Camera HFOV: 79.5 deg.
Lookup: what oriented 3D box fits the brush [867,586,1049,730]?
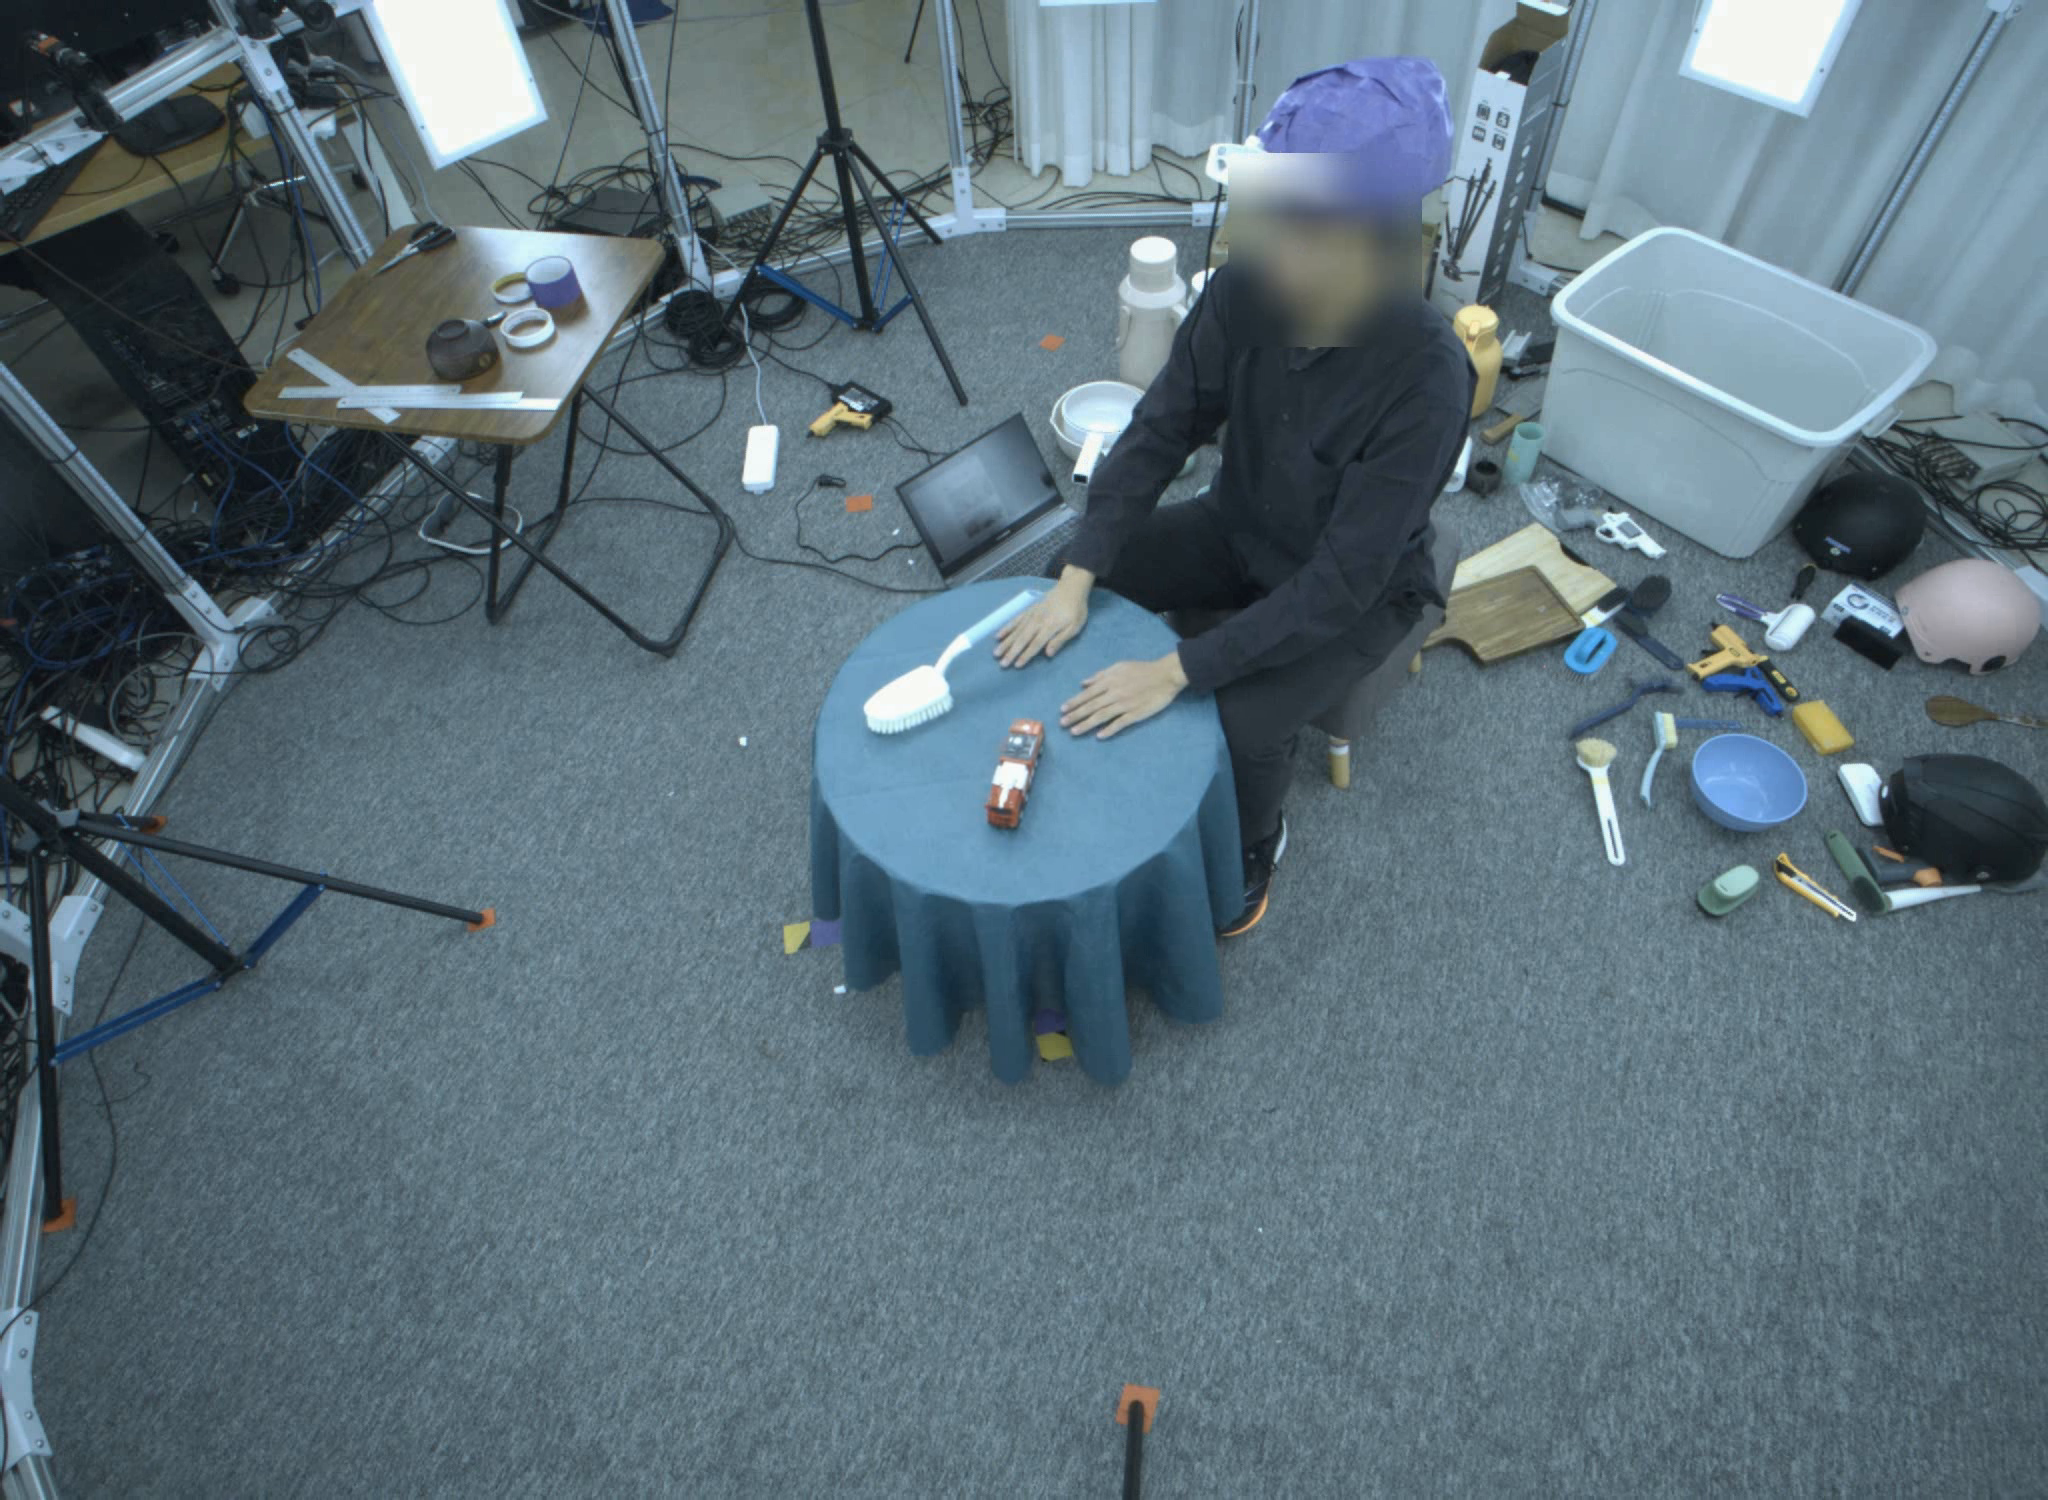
[{"bbox_3d":[-0.089,-0.128,1.831,0.326,0.084,0.083,-35,96,-7],"label":"brush"}]

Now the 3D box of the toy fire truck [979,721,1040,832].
[{"bbox_3d":[-0.019,0.036,1.725,0.053,0.071,0.167,10,55,9],"label":"toy fire truck"}]
